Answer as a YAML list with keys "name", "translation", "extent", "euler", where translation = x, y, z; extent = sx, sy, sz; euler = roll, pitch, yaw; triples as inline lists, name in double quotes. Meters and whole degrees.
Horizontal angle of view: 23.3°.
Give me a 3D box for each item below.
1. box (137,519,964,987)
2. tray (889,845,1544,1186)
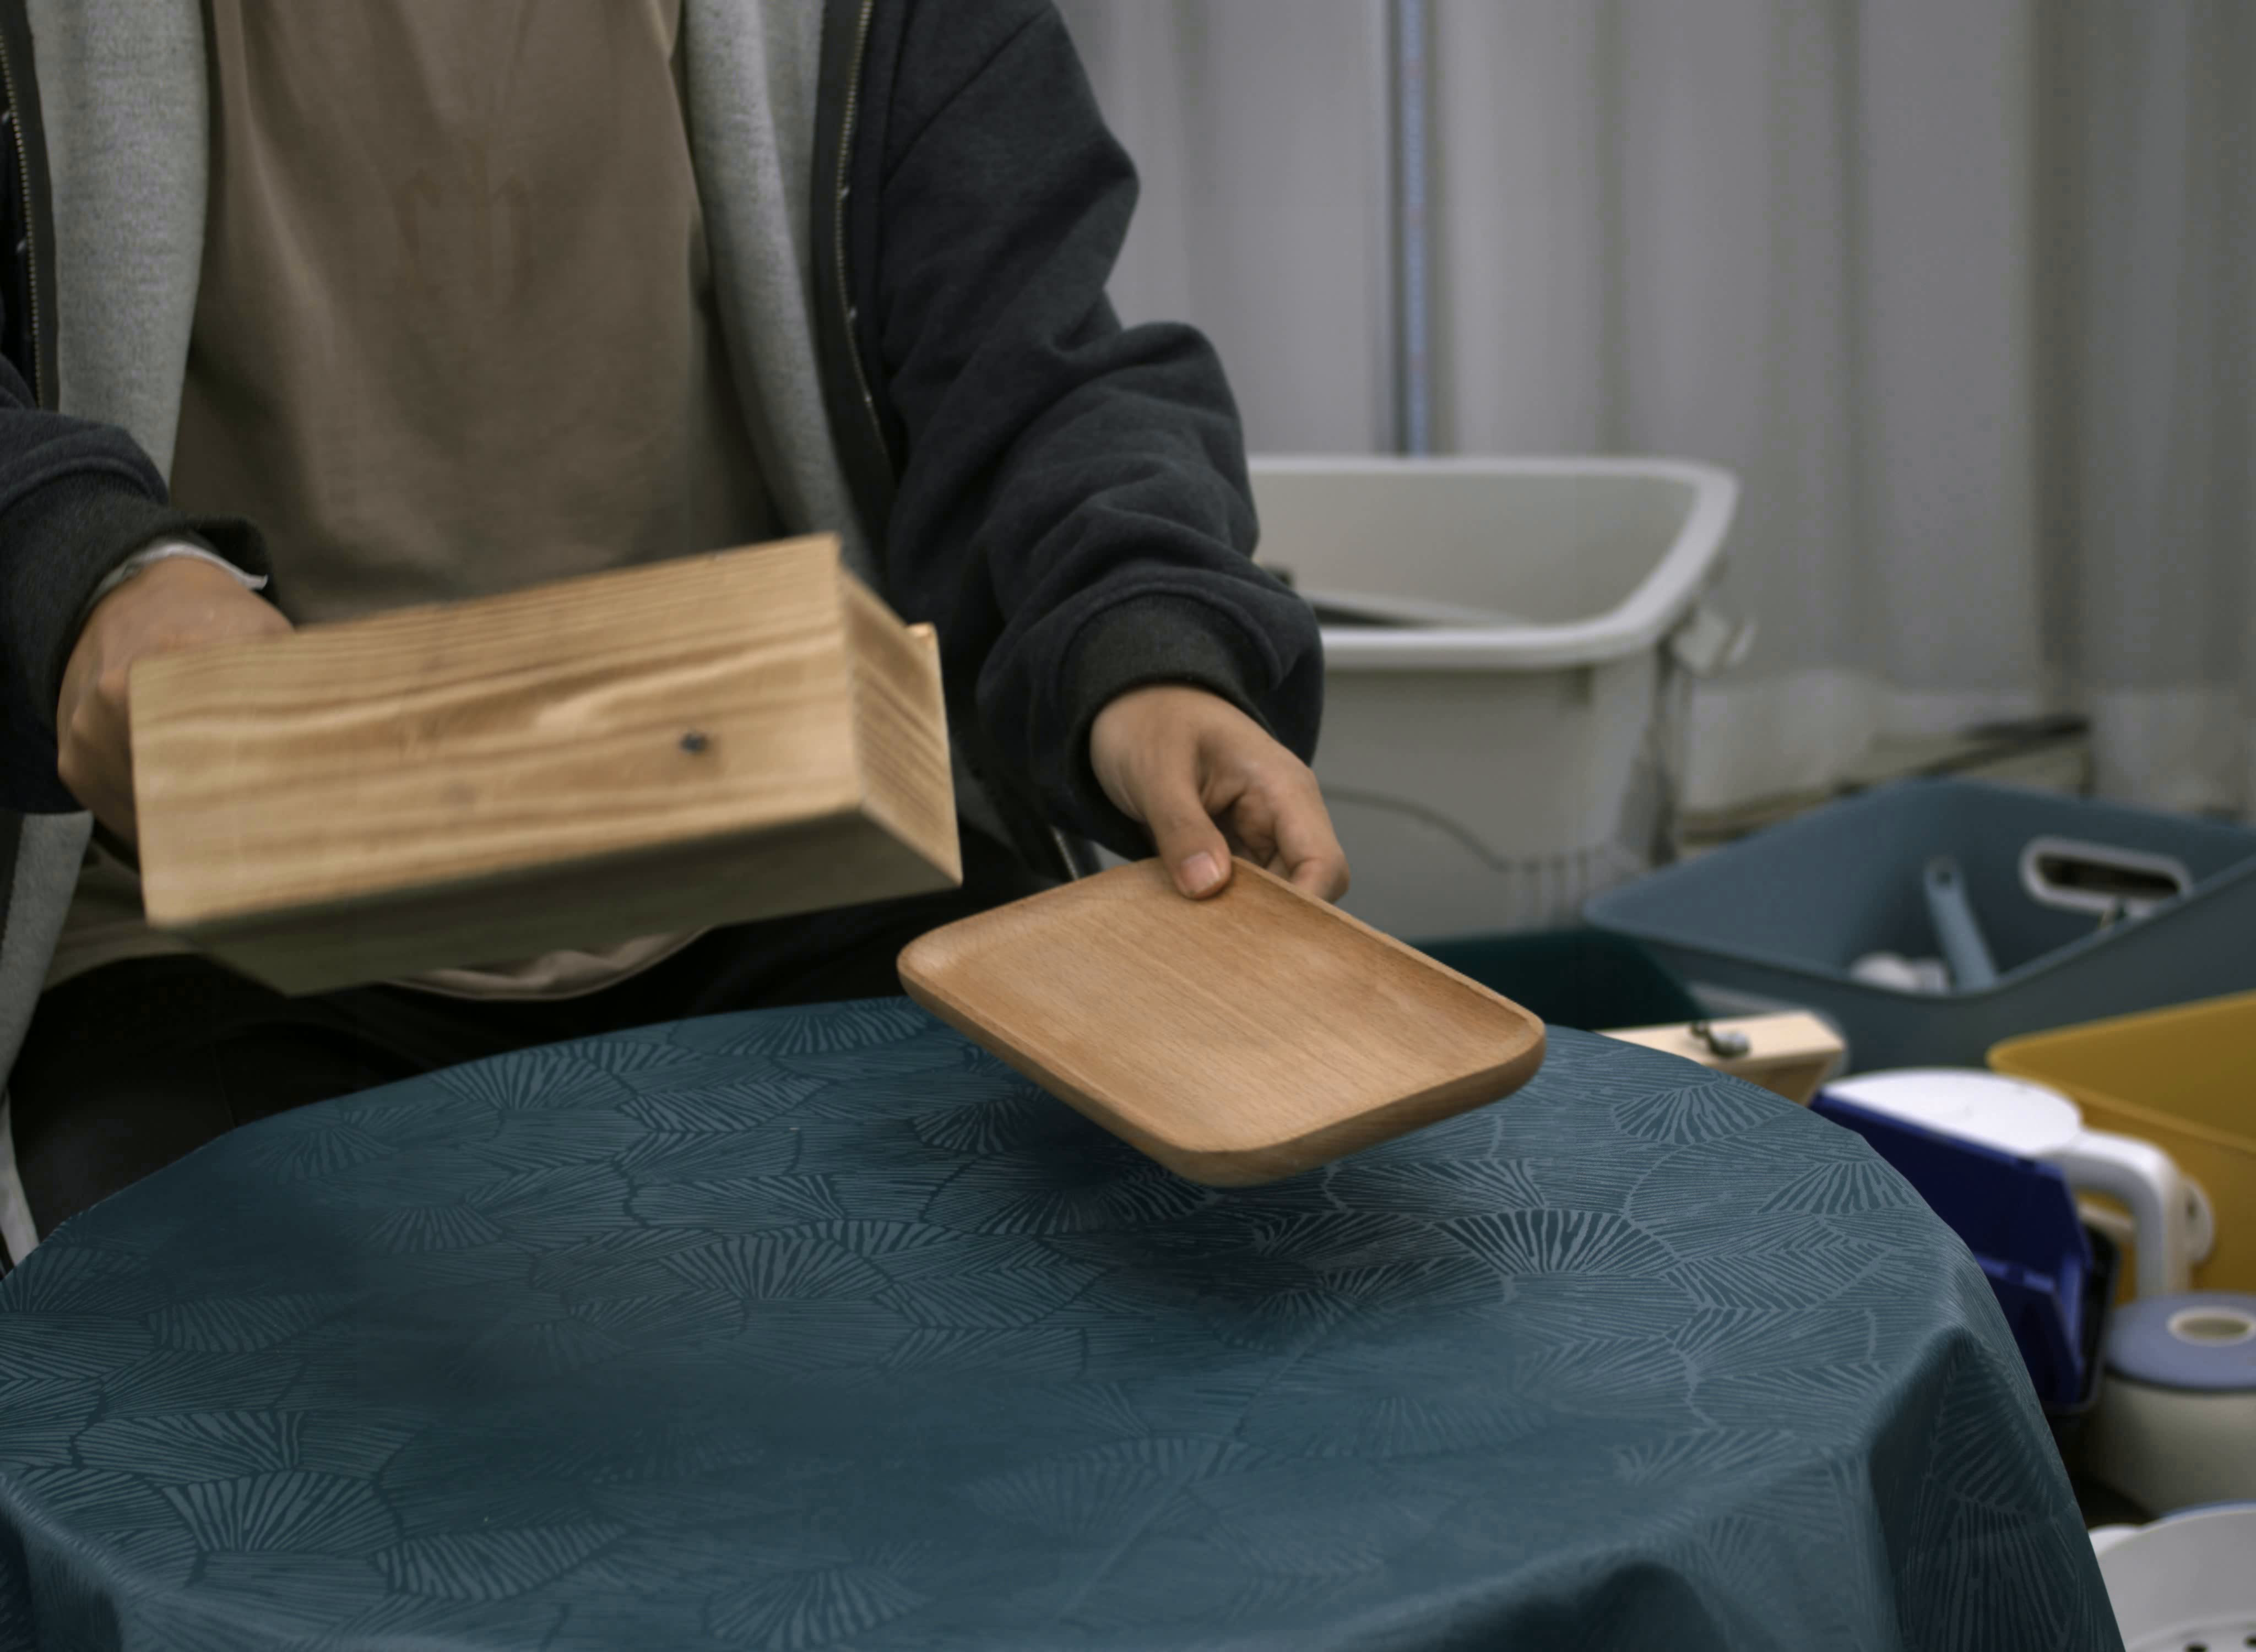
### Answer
- name: "box"
  translation: [-0.164, -0.018, 1.571]
  extent: [0.211, 0.081, 0.106]
  euler: [-9, -17, 11]
- name: "tray"
  translation: [0.024, 0.056, 1.705]
  extent: [0.130, 0.023, 0.253]
  euler: [-15, 19, -21]
